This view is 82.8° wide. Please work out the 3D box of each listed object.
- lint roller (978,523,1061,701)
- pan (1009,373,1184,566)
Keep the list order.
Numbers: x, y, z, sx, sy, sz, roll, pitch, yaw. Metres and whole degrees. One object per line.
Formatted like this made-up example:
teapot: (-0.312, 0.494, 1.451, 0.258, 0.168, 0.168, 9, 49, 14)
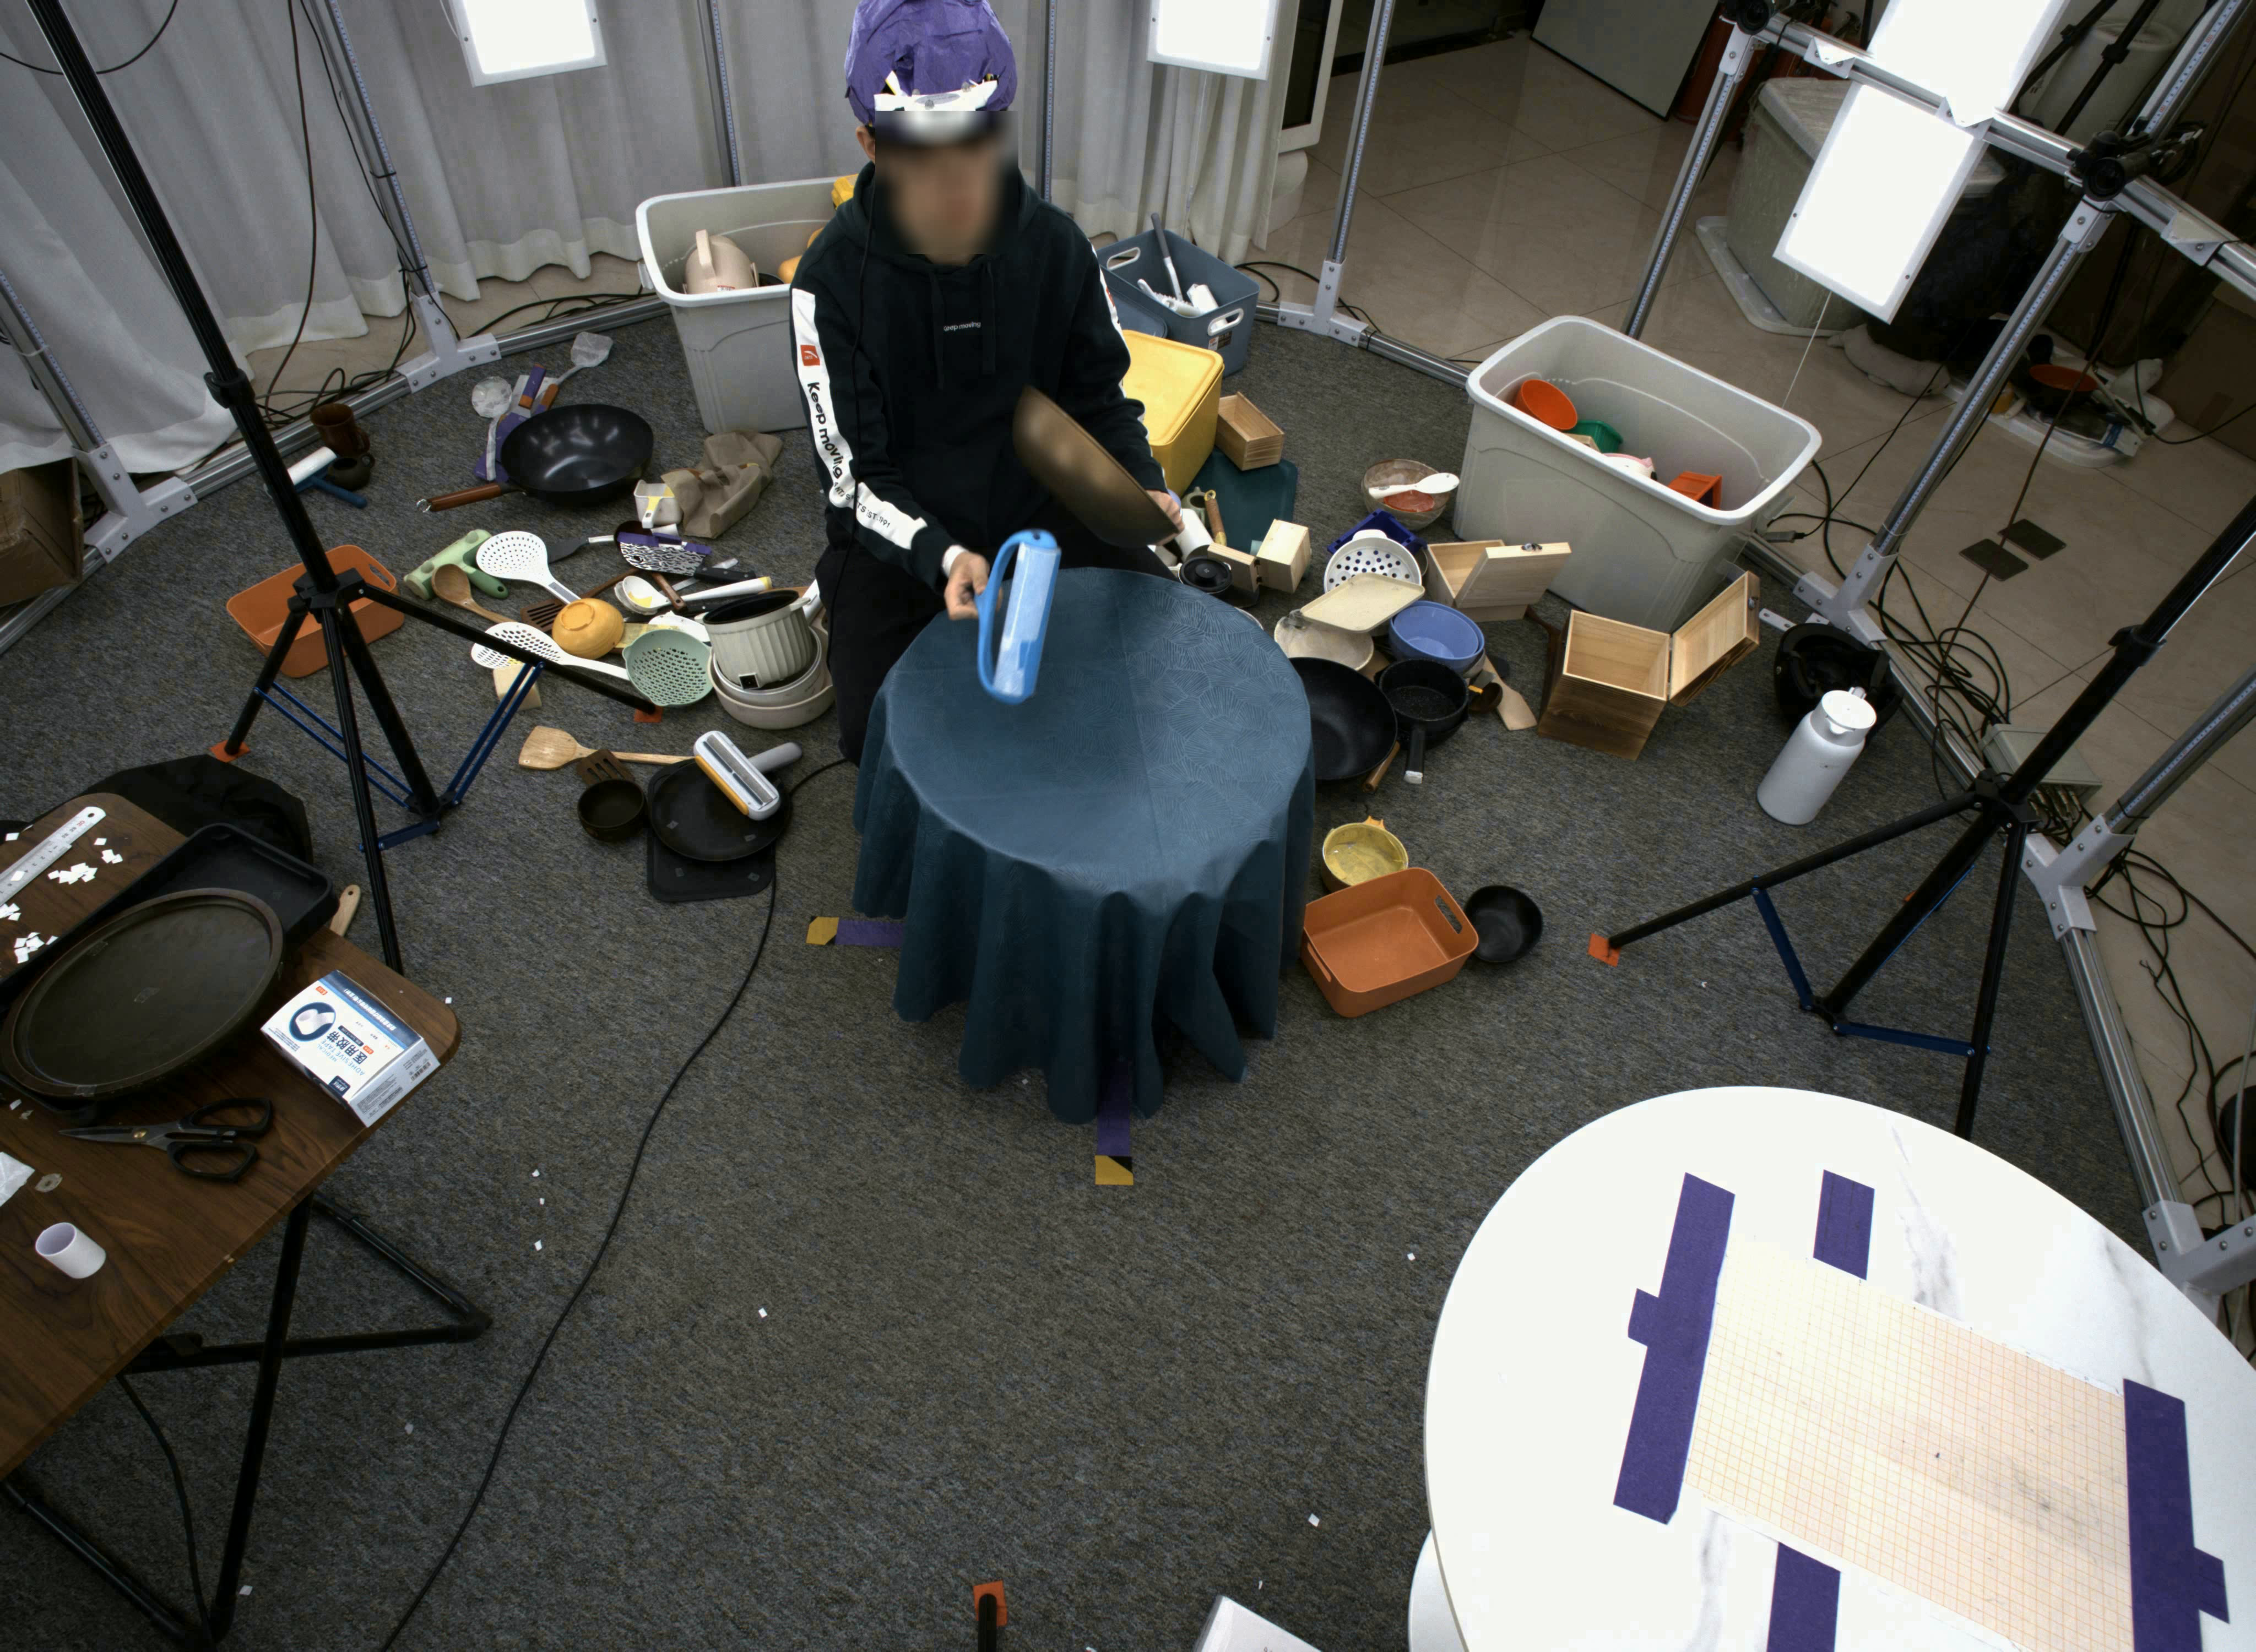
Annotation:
lint roller: (-0.161, -0.291, 1.683, 0.068, 0.226, 0.183, -7, 22, -37)
pan: (-0.032, -0.448, 1.807, 0.086, 0.457, 0.293, -45, 65, 6)
